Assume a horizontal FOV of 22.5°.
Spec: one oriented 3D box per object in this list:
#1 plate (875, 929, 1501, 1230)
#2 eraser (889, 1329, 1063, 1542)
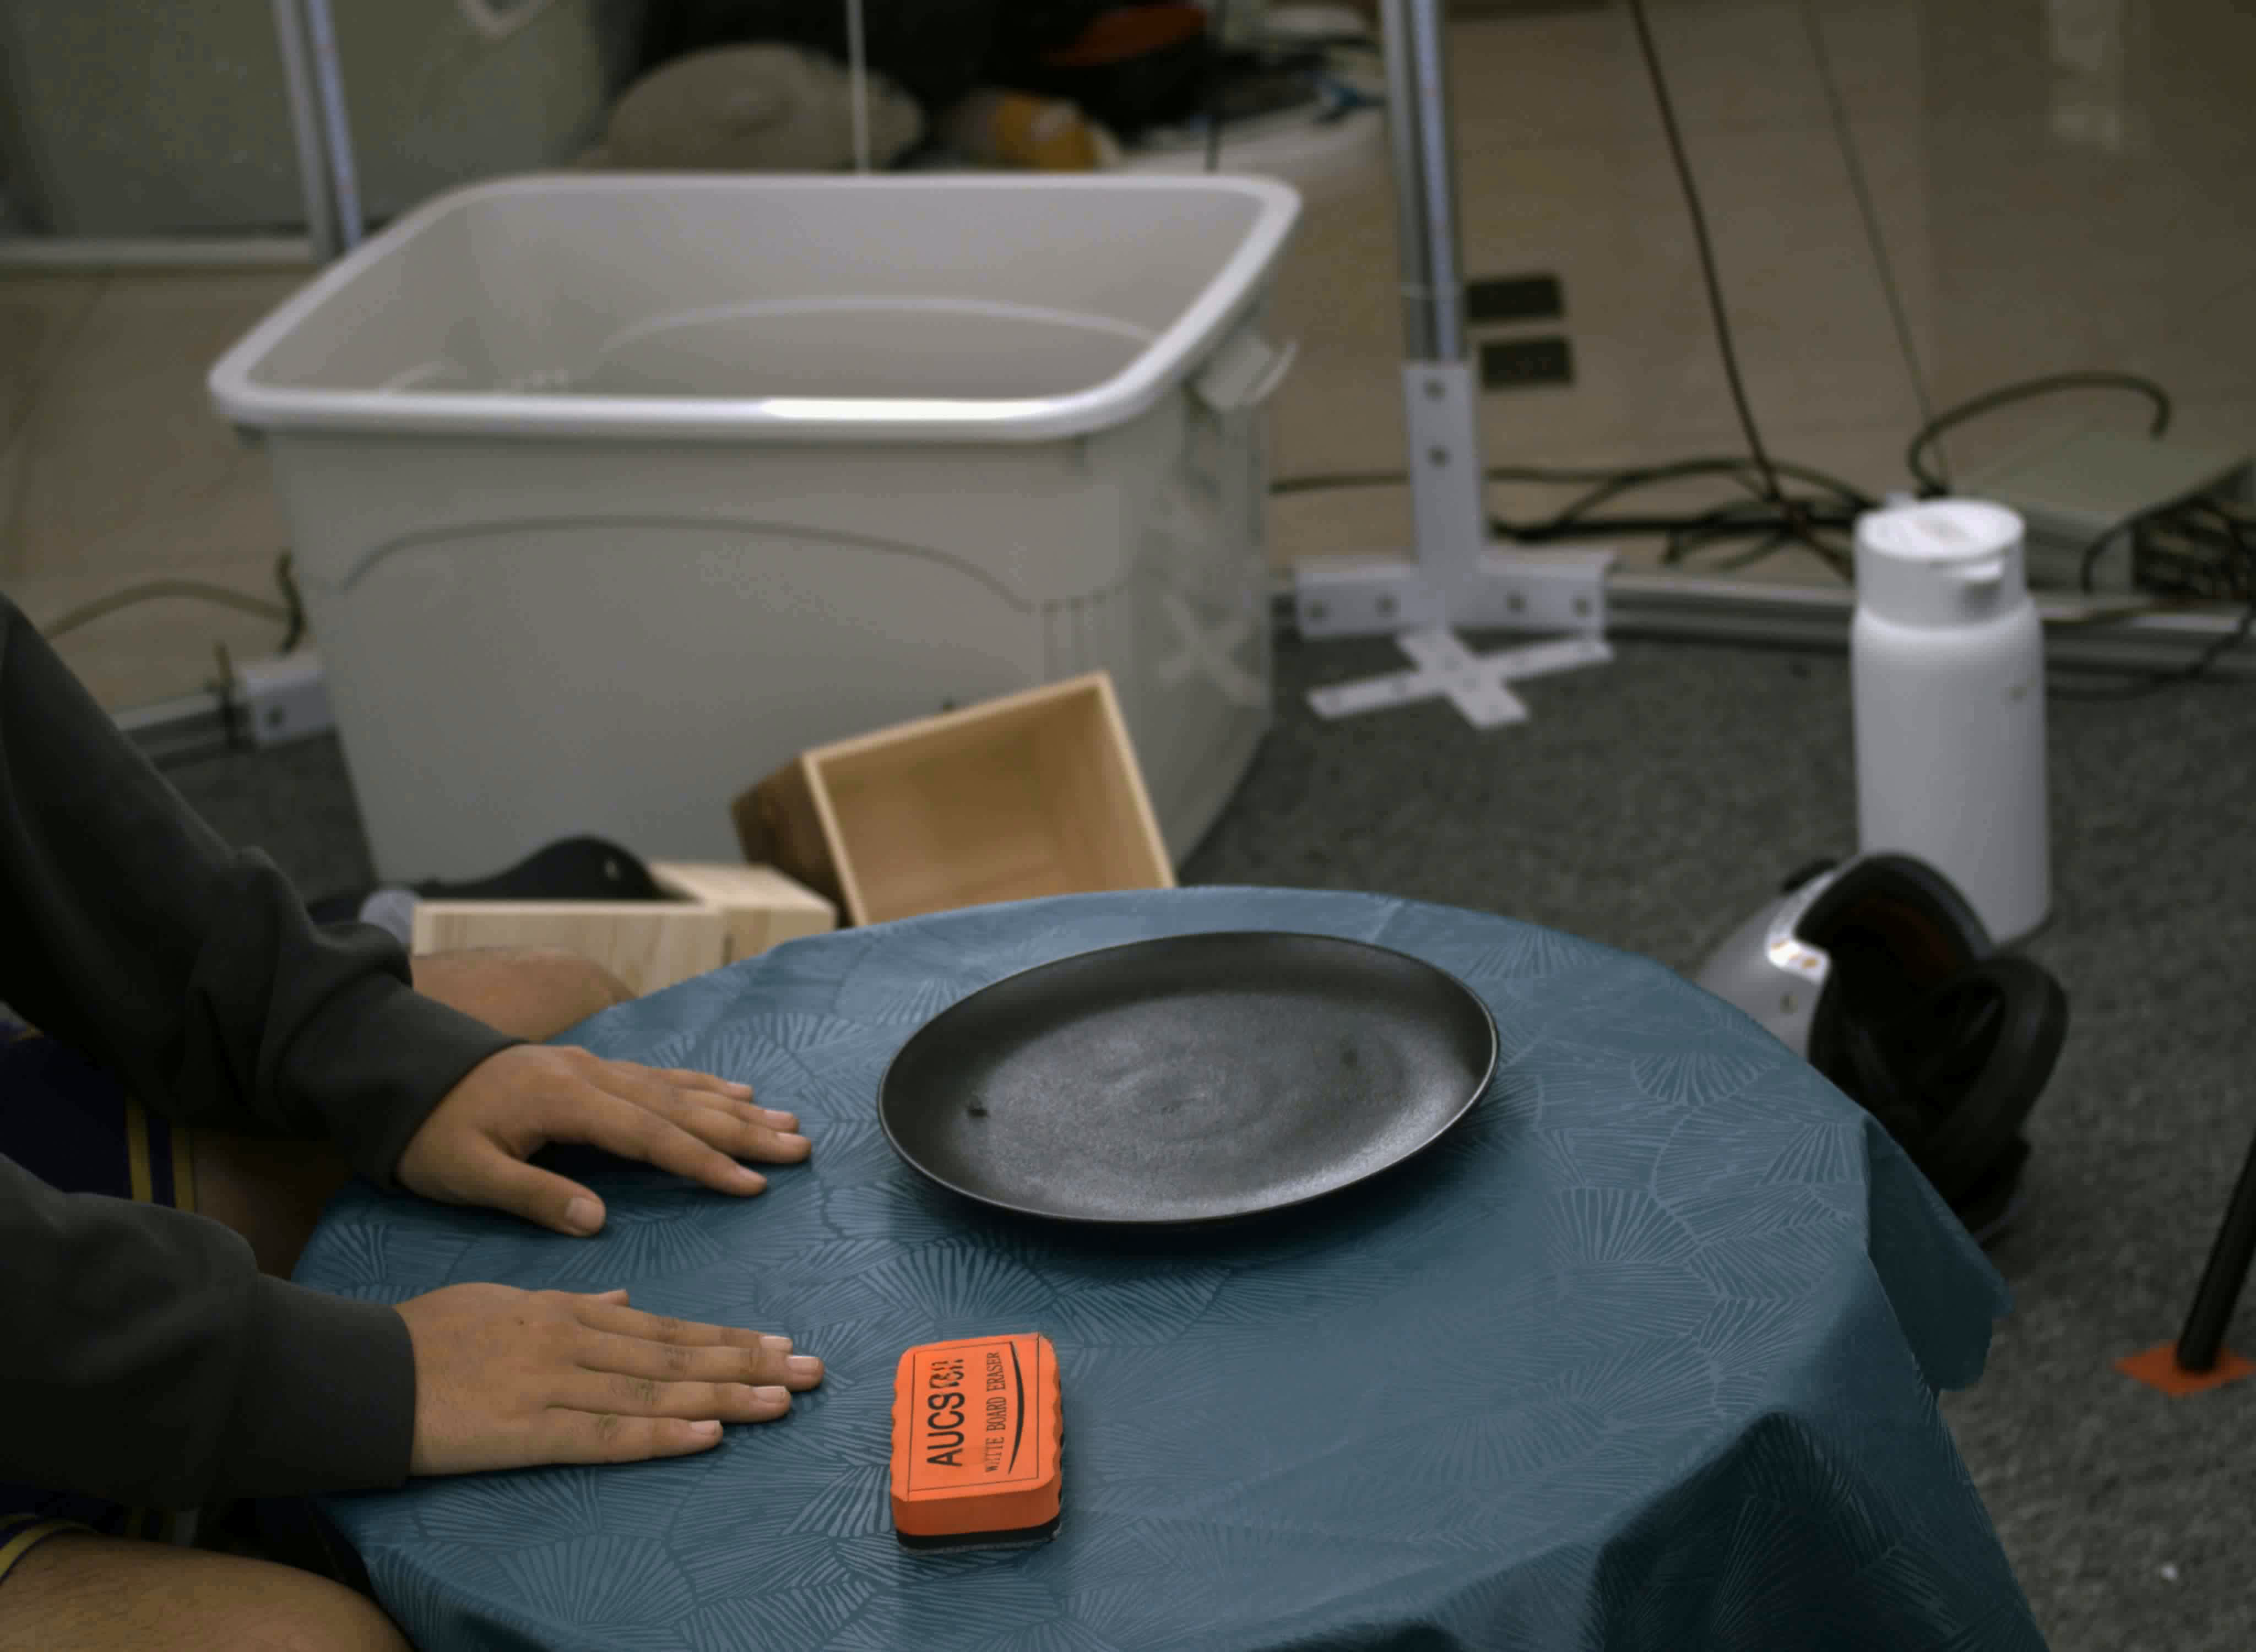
[{"bbox_3d":[0.024,0.103,2.191,0.244,0.024,0.241,-5,25,3],"label":"plate"},{"bbox_3d":[-0.052,0.211,1.971,0.059,0.023,0.106,-5,23,1],"label":"eraser"}]
